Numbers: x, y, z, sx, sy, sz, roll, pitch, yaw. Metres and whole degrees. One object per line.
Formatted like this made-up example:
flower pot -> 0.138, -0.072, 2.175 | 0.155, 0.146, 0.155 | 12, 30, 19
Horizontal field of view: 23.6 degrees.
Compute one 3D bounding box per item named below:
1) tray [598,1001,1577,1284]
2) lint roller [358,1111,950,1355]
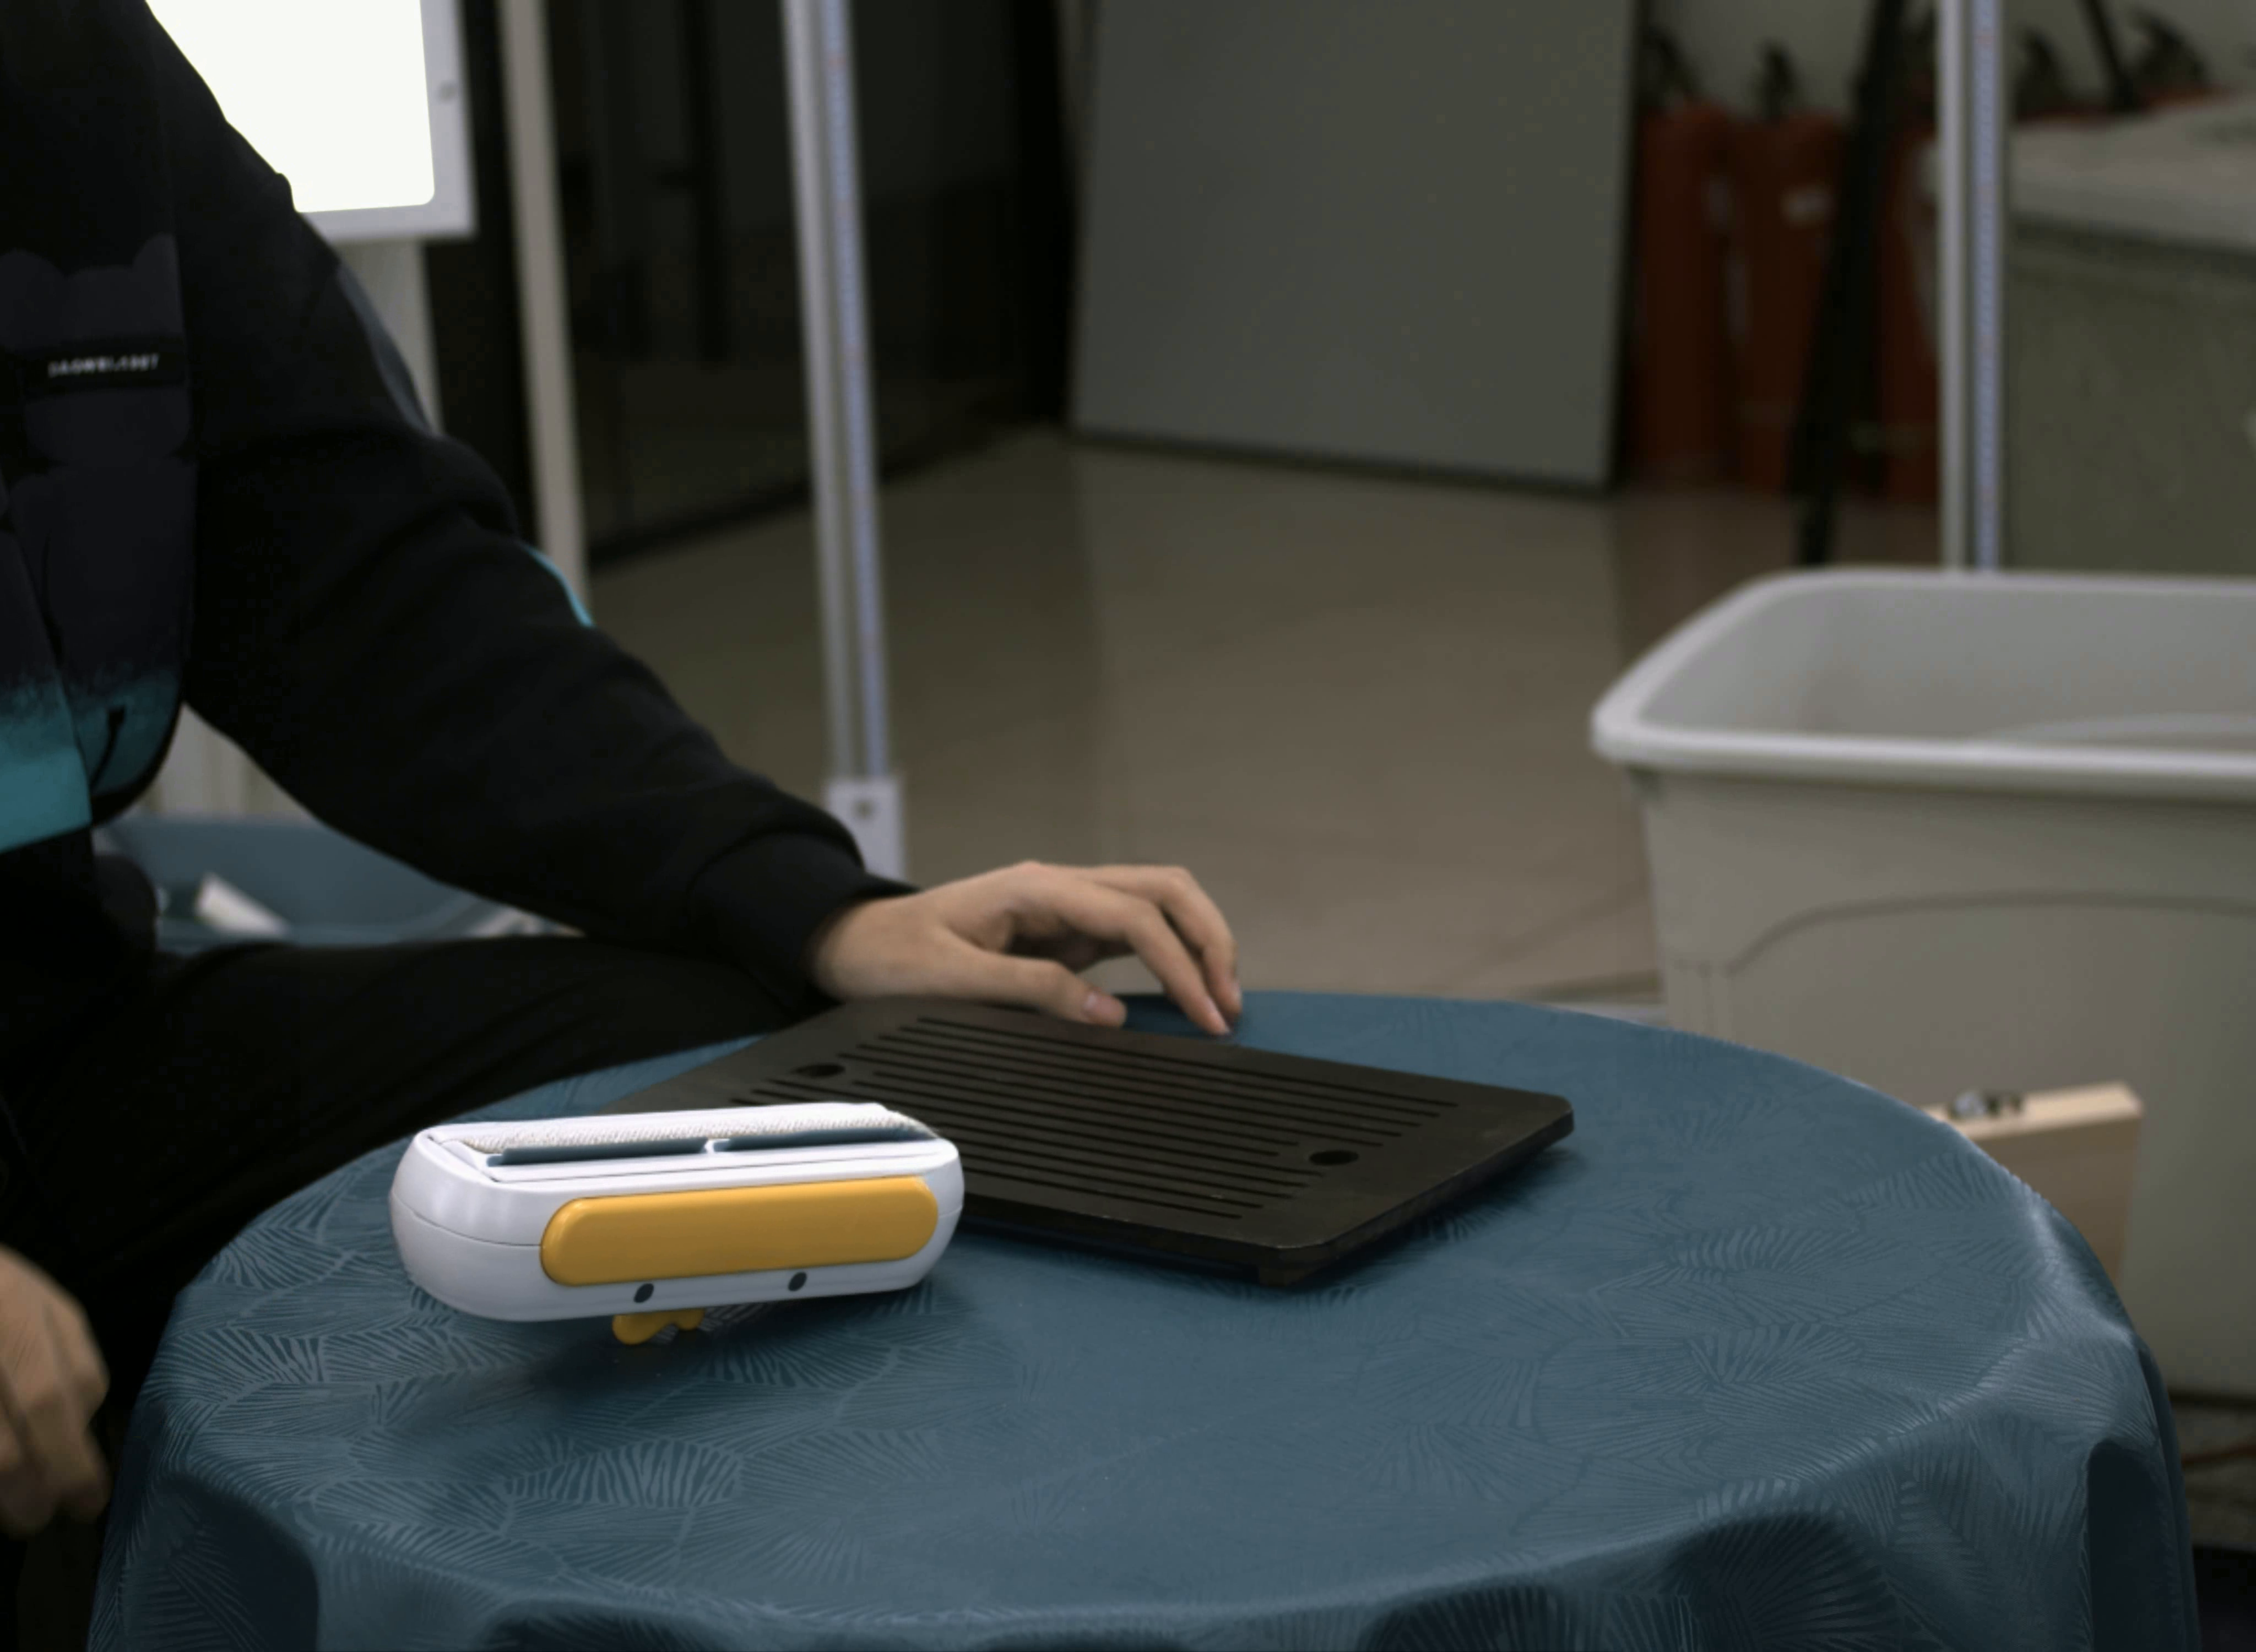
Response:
tray -> -0.015, 0.104, 1.810 | 0.308, 0.019, 0.167 | 6, 18, 37
lint roller -> -0.174, 0.117, 1.698 | 0.188, 0.075, 0.194 | -5, 11, -34
